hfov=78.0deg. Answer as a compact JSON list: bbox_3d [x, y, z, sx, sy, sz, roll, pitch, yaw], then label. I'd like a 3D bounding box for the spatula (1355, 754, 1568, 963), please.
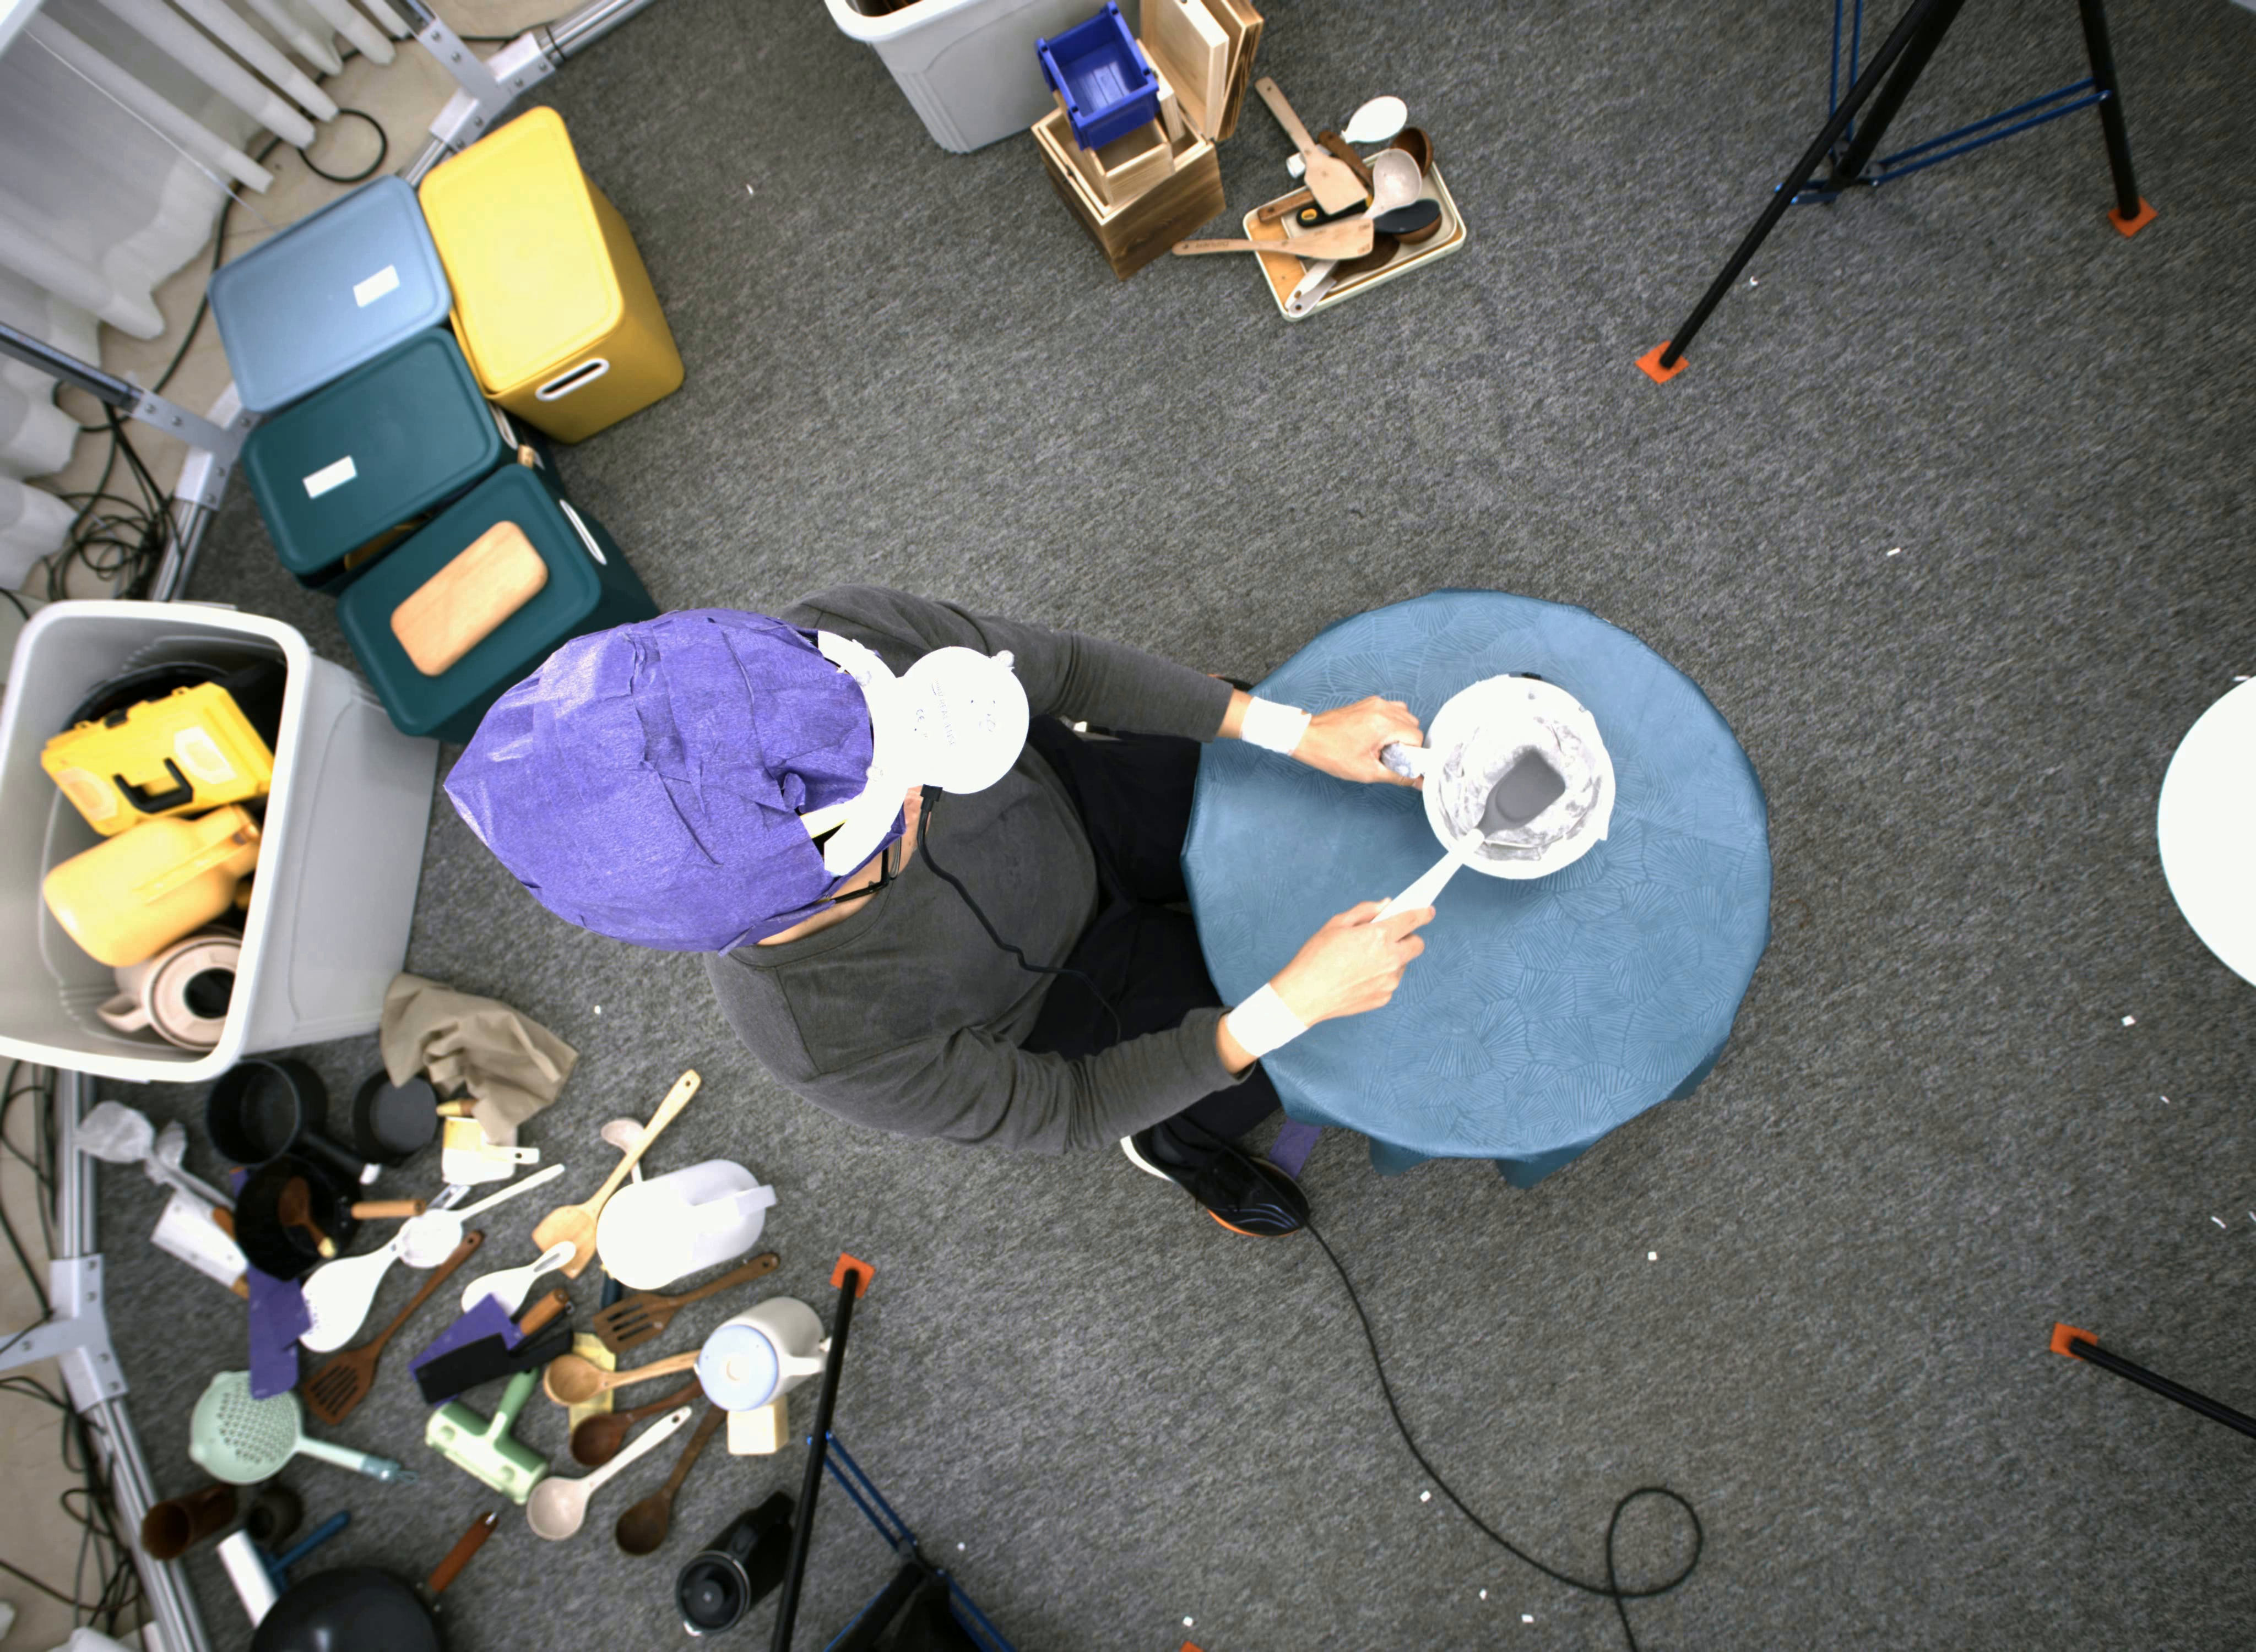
[{"bbox_3d":[0.316,0.028,1.301,0.283,0.033,0.058,-39,85,-23],"label":"spatula"}]

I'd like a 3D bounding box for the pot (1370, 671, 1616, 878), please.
[{"bbox_3d":[0.355,-0.062,1.358,0.234,0.134,0.182,12,113,7],"label":"pot"}]
